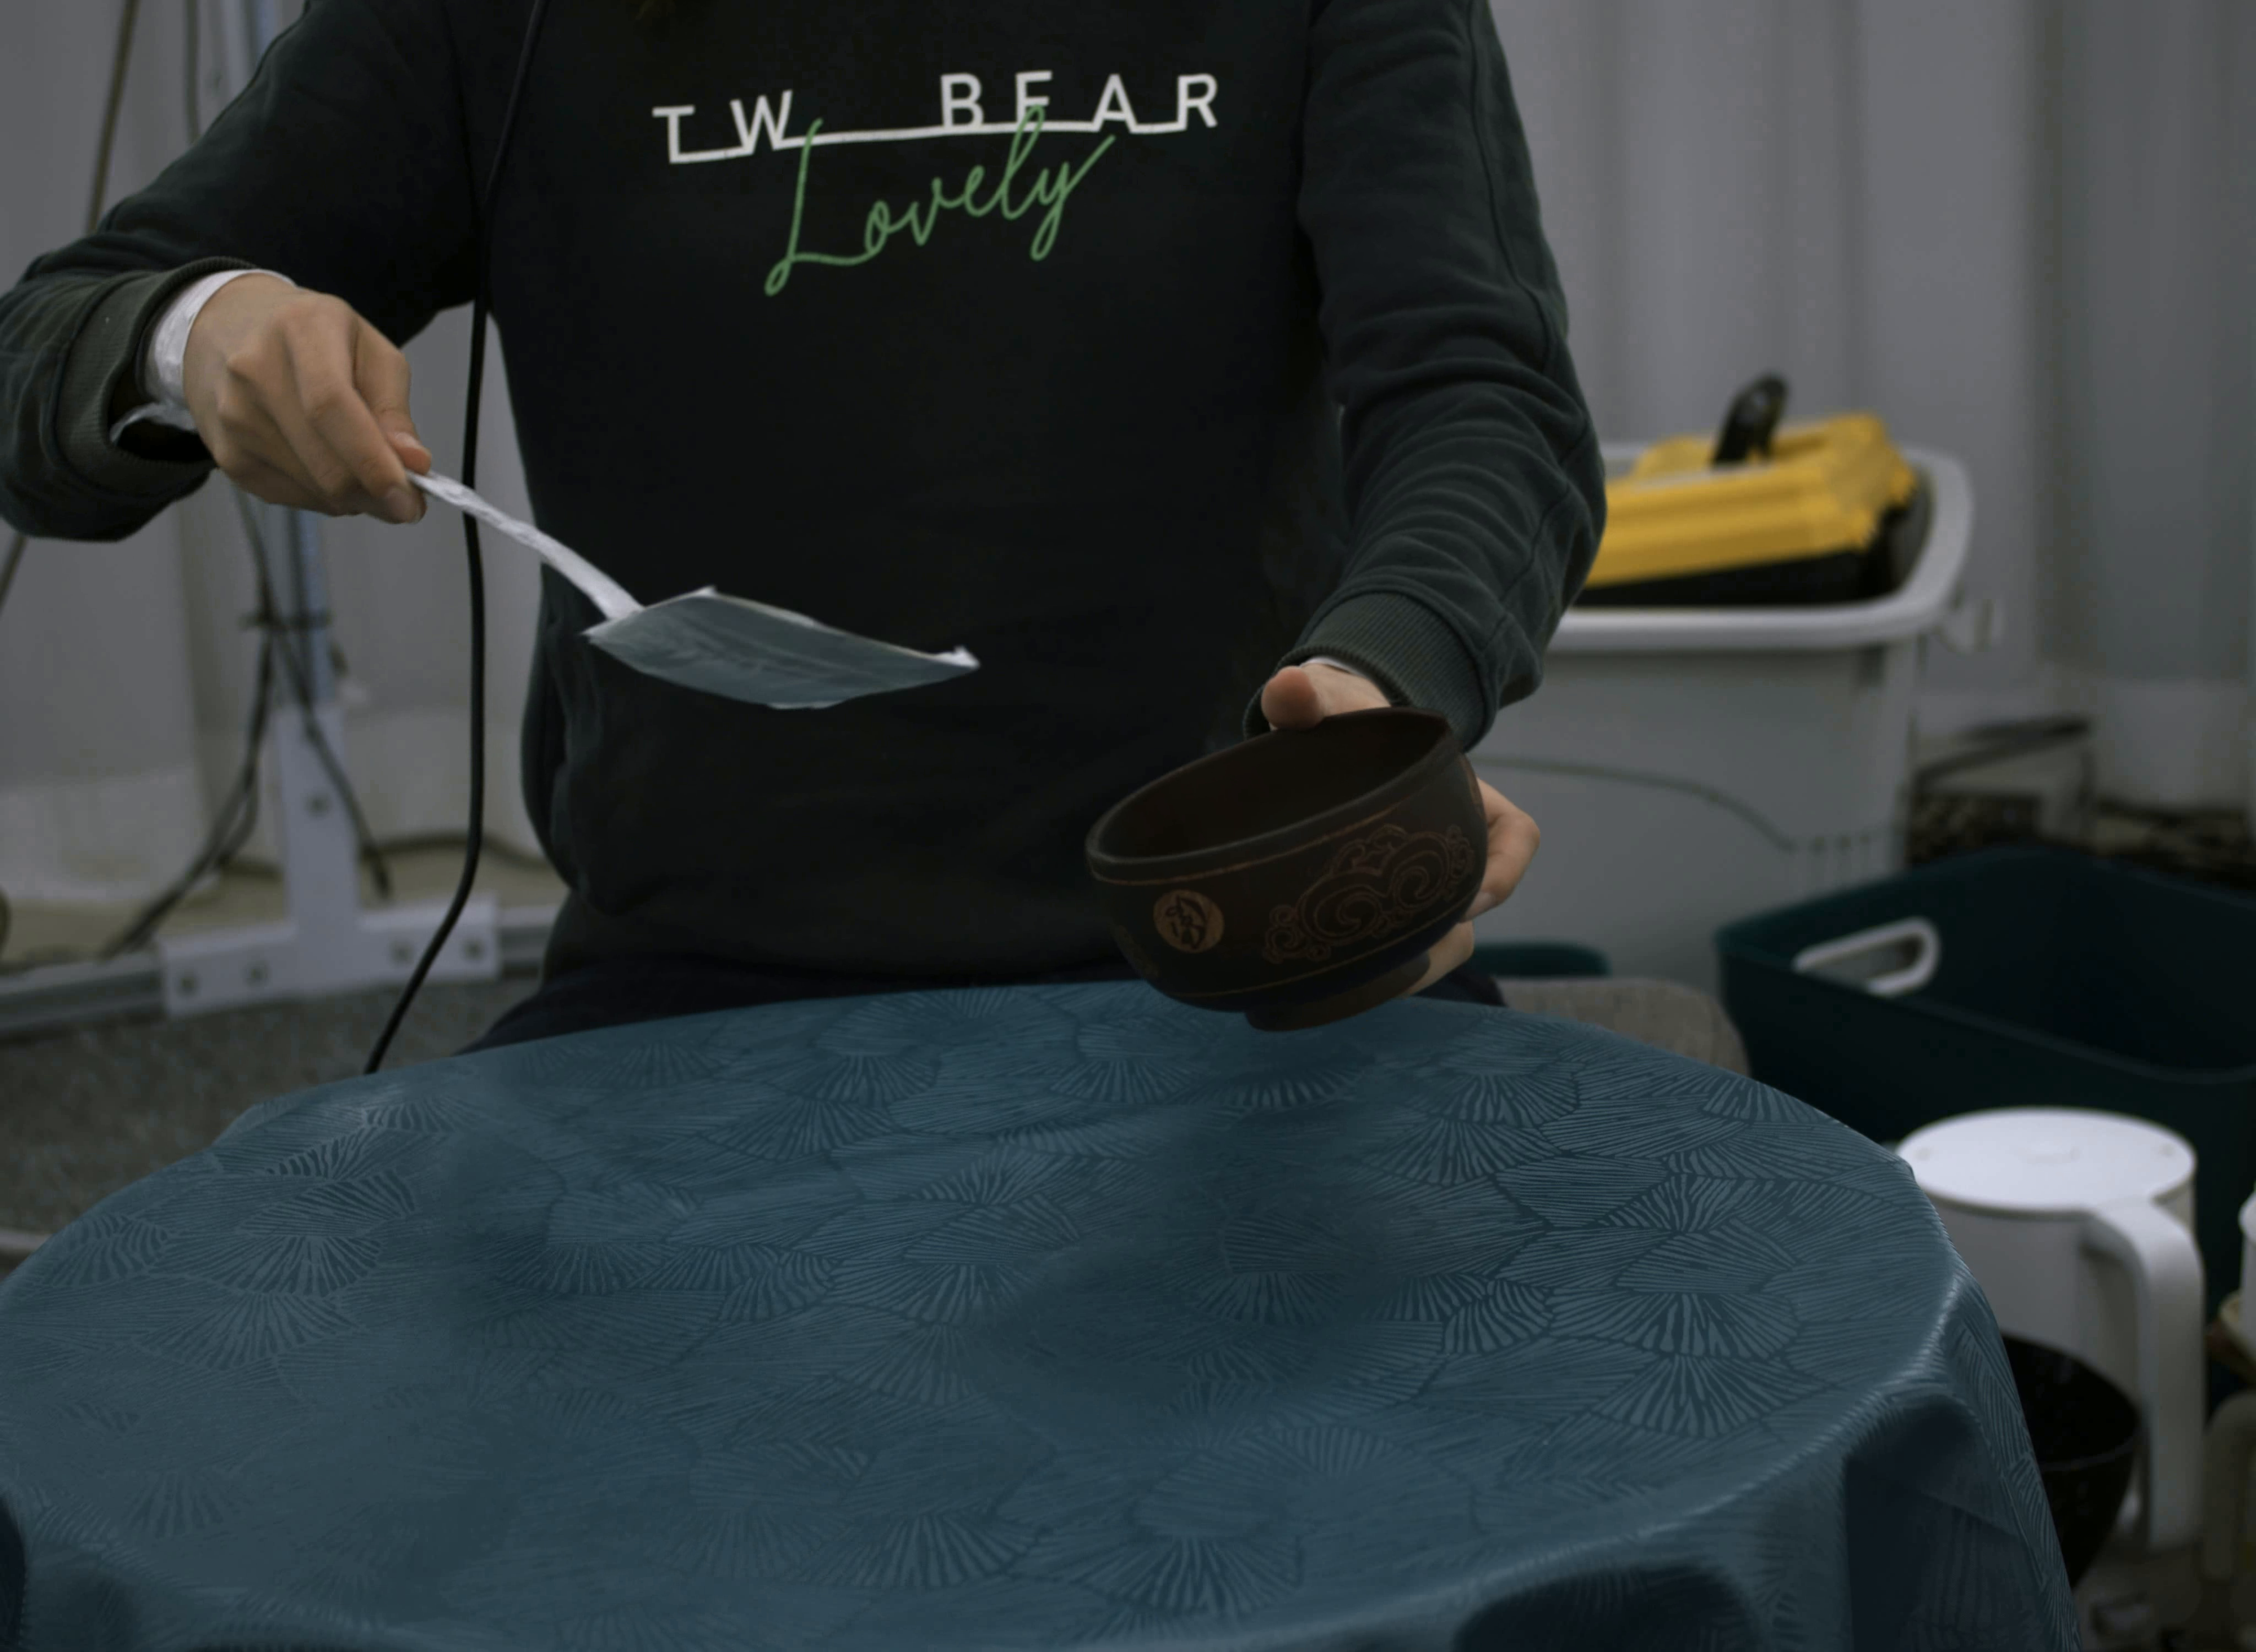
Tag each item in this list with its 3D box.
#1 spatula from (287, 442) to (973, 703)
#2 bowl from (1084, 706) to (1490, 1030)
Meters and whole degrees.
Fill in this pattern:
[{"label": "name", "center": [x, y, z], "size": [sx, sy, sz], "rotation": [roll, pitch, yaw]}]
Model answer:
[{"label": "spatula", "center": [-0.173, -0.087, 1.642], "size": [0.098, 0.045, 0.368], "rotation": [12, 10, -35]}, {"label": "bowl", "center": [0.052, 0.018, 1.614], "size": [0.118, 0.069, 0.119], "rotation": [-17, 12, 4]}]
